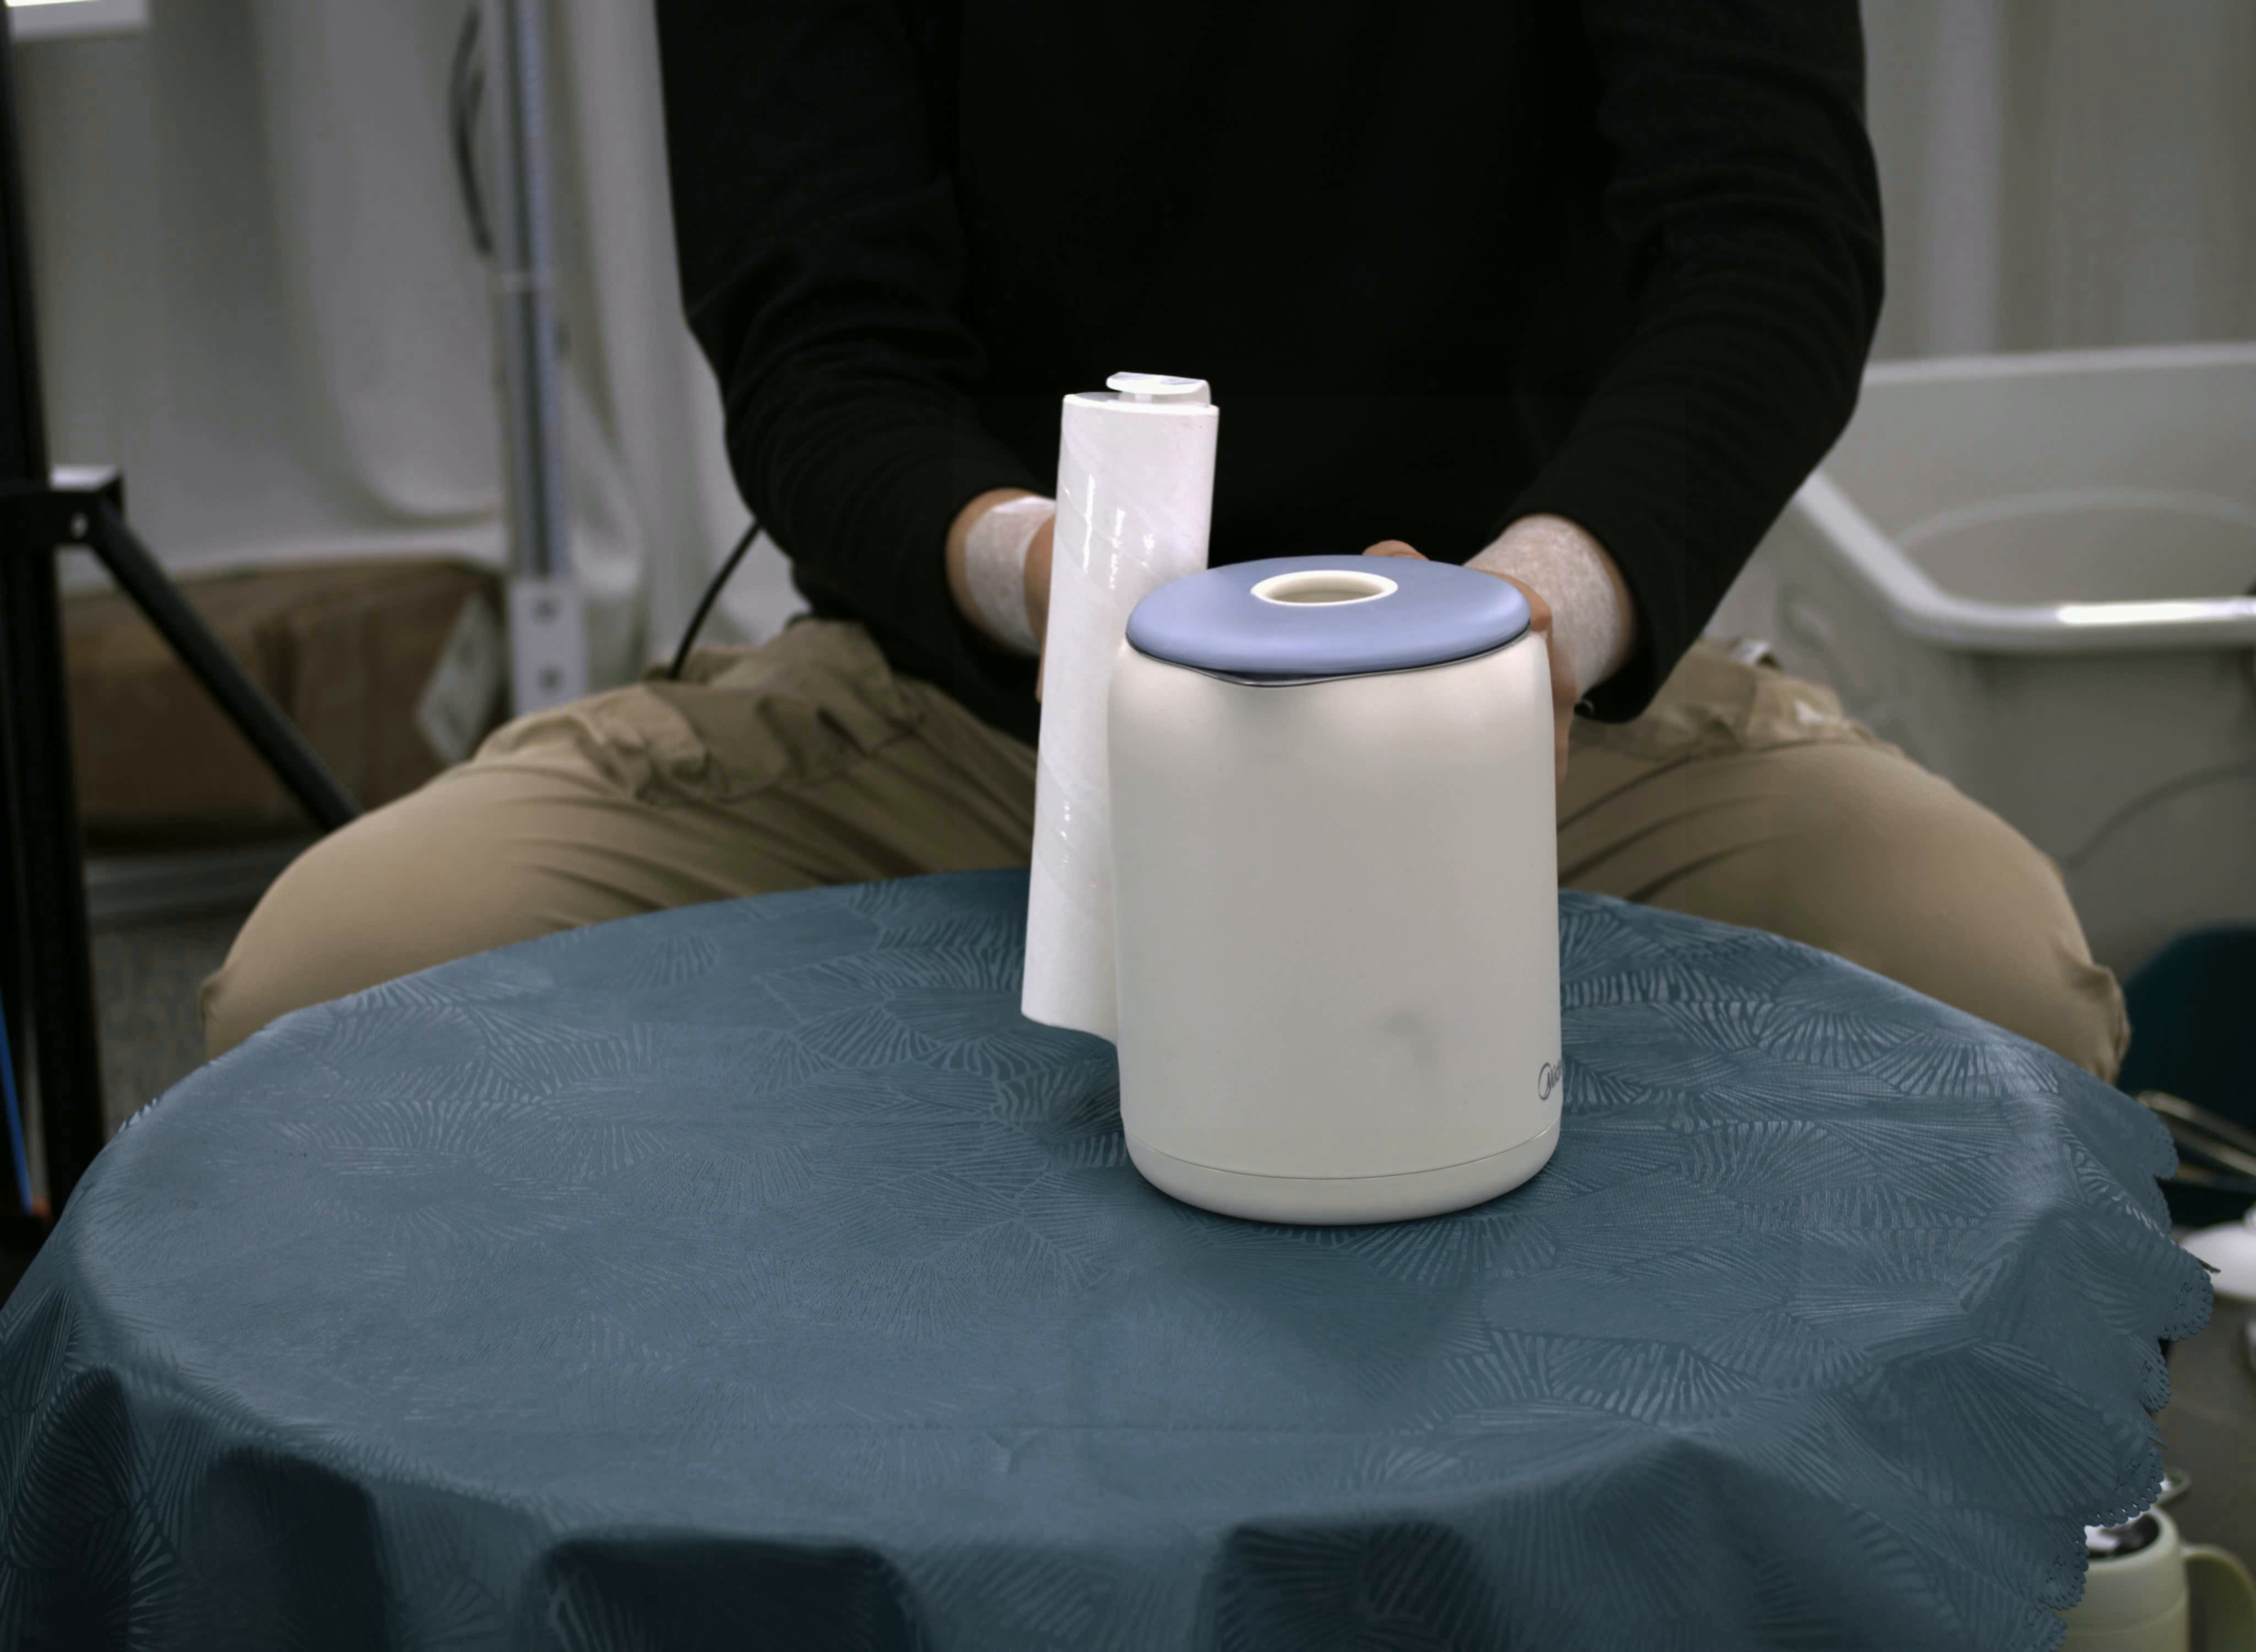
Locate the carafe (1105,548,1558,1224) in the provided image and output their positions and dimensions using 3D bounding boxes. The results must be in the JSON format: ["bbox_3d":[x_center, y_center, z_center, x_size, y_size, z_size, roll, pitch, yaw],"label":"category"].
[{"bbox_3d":[0.067,0.011,1.576,0.133,0.182,0.189,3,14,17],"label":"carafe"}]

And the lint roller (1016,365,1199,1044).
[{"bbox_3d":[0.012,-0.046,1.695,0.048,0.203,0.223,4,7,12],"label":"lint roller"}]
